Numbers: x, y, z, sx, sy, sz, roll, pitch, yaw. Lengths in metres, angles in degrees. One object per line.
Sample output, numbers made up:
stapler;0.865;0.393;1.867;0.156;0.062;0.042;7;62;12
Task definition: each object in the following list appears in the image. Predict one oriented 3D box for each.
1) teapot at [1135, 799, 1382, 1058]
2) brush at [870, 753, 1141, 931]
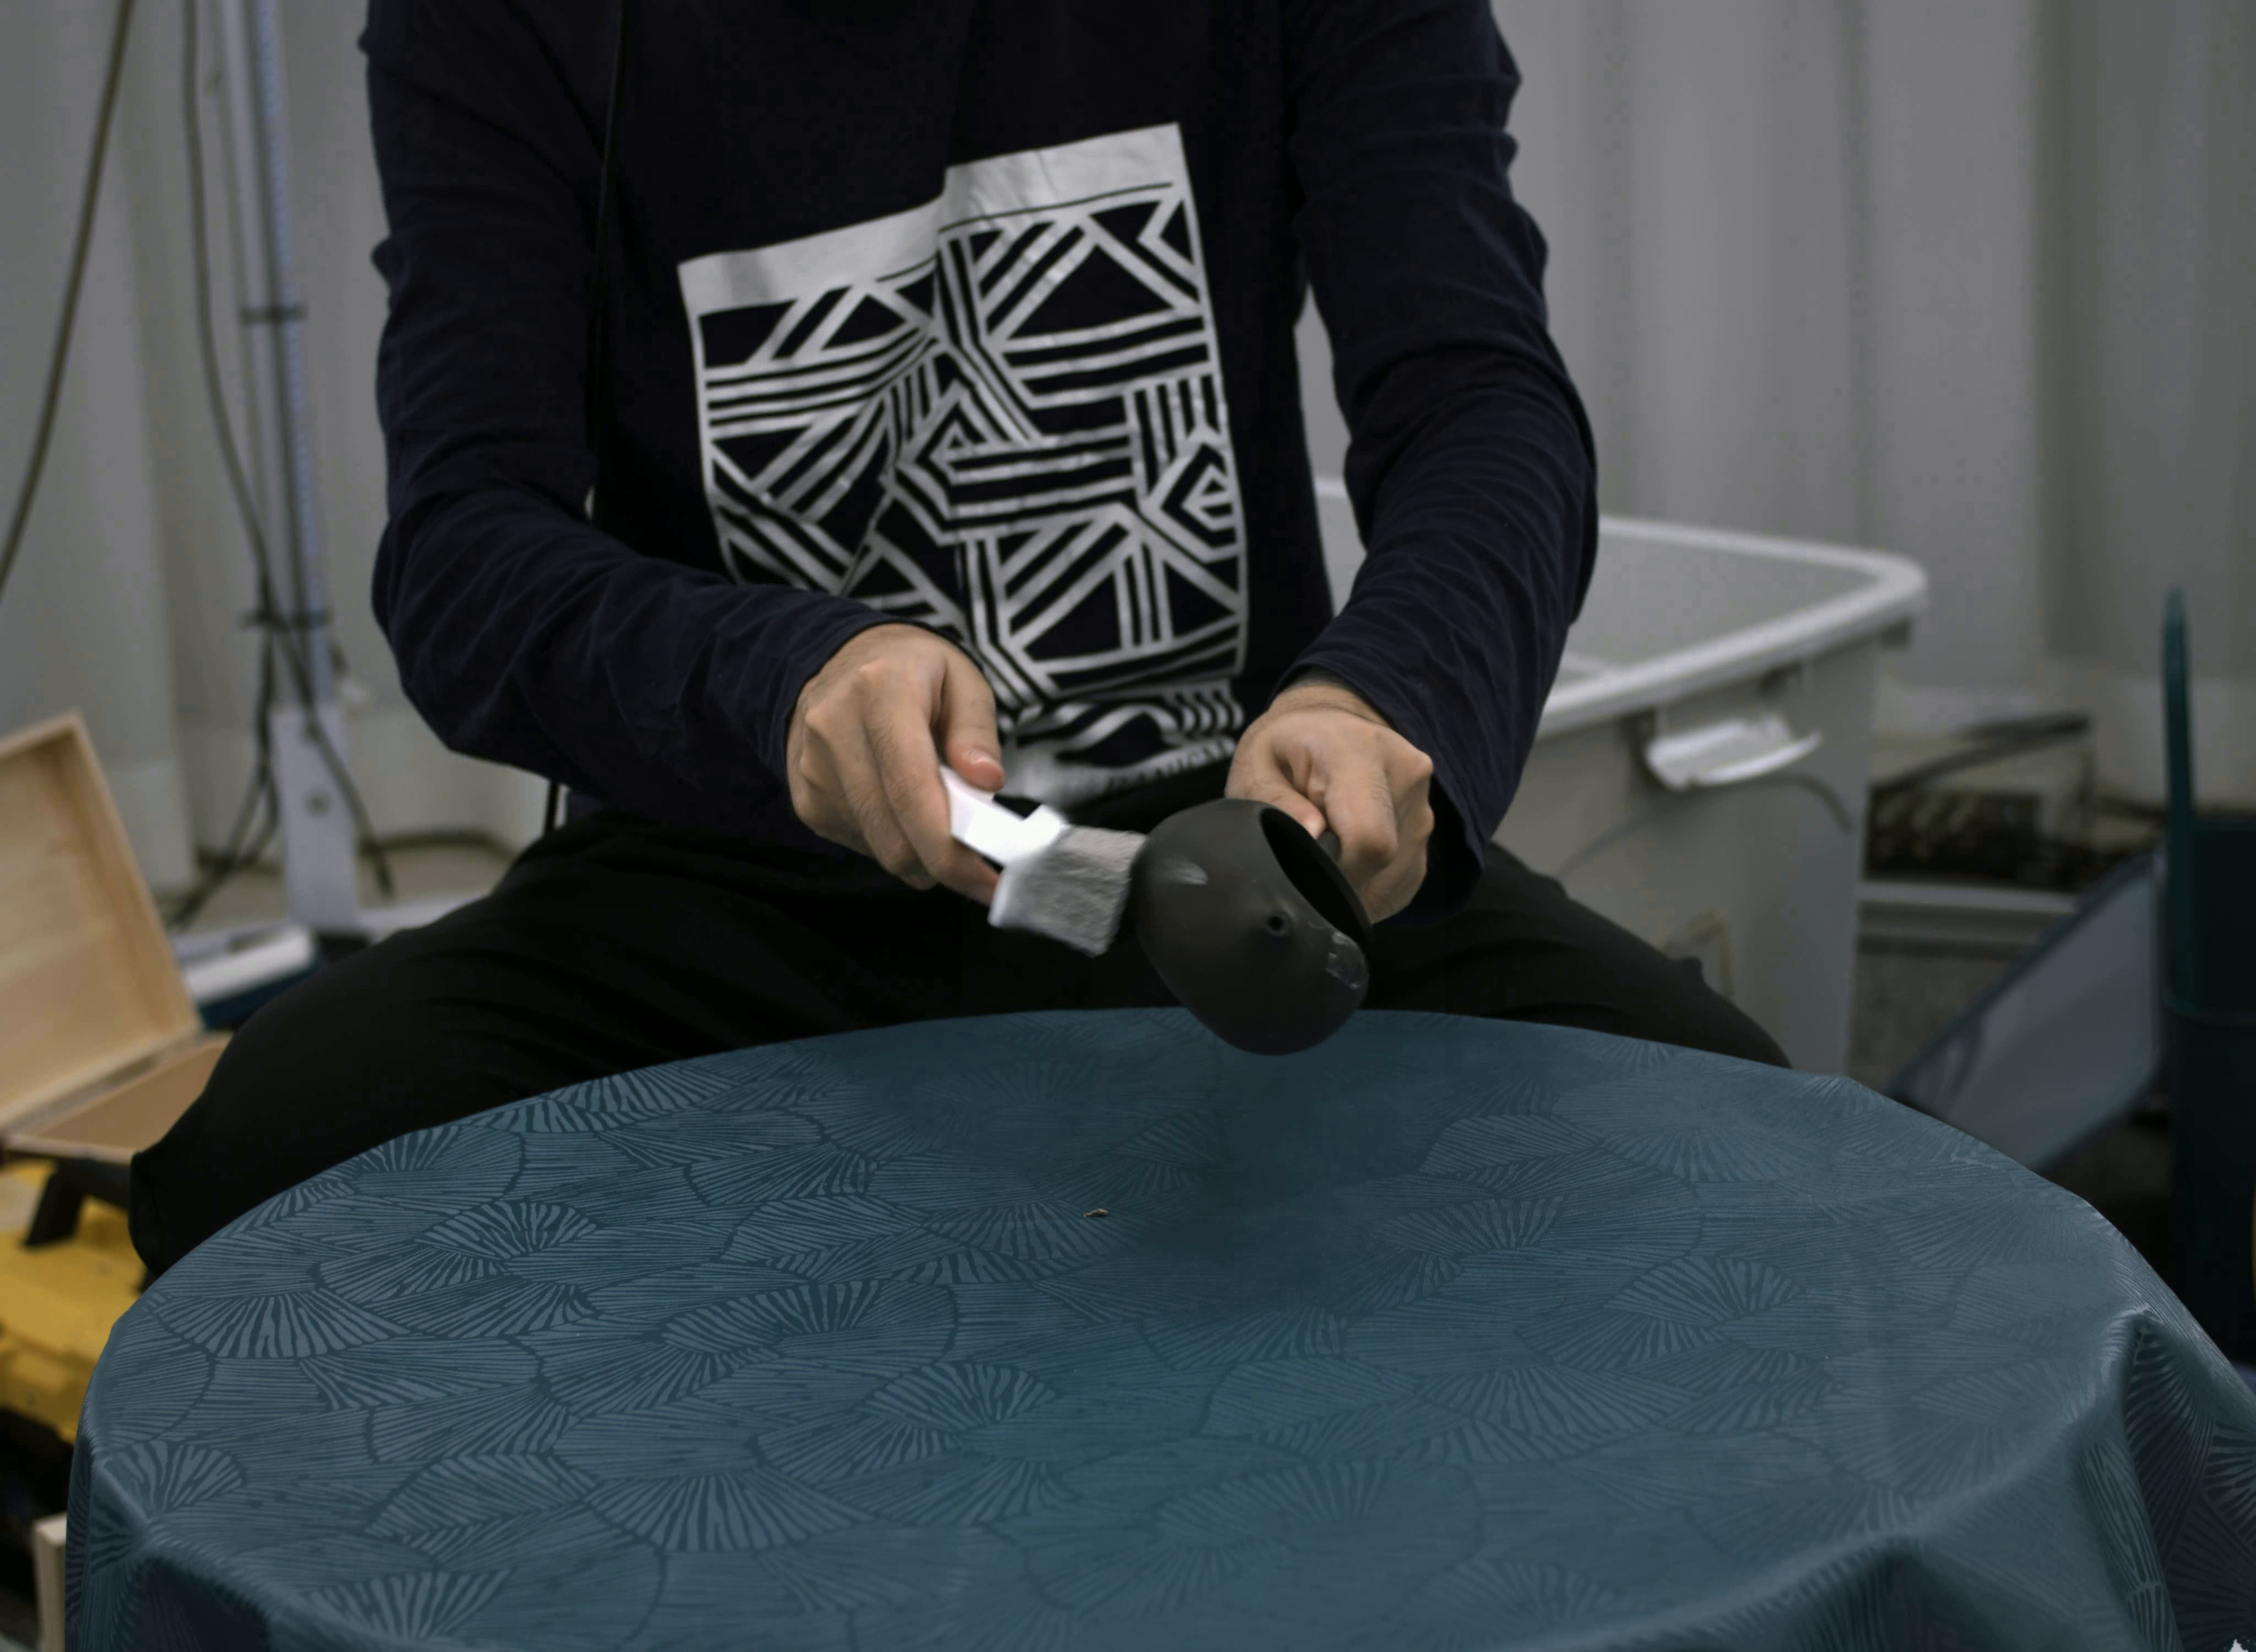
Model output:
teapot;0.043;0.027;1.663;0.053;0.083;0.114;-41;2;18
brush;-0.037;0.003;1.748;0.050;0.034;0.244;12;3;-14
